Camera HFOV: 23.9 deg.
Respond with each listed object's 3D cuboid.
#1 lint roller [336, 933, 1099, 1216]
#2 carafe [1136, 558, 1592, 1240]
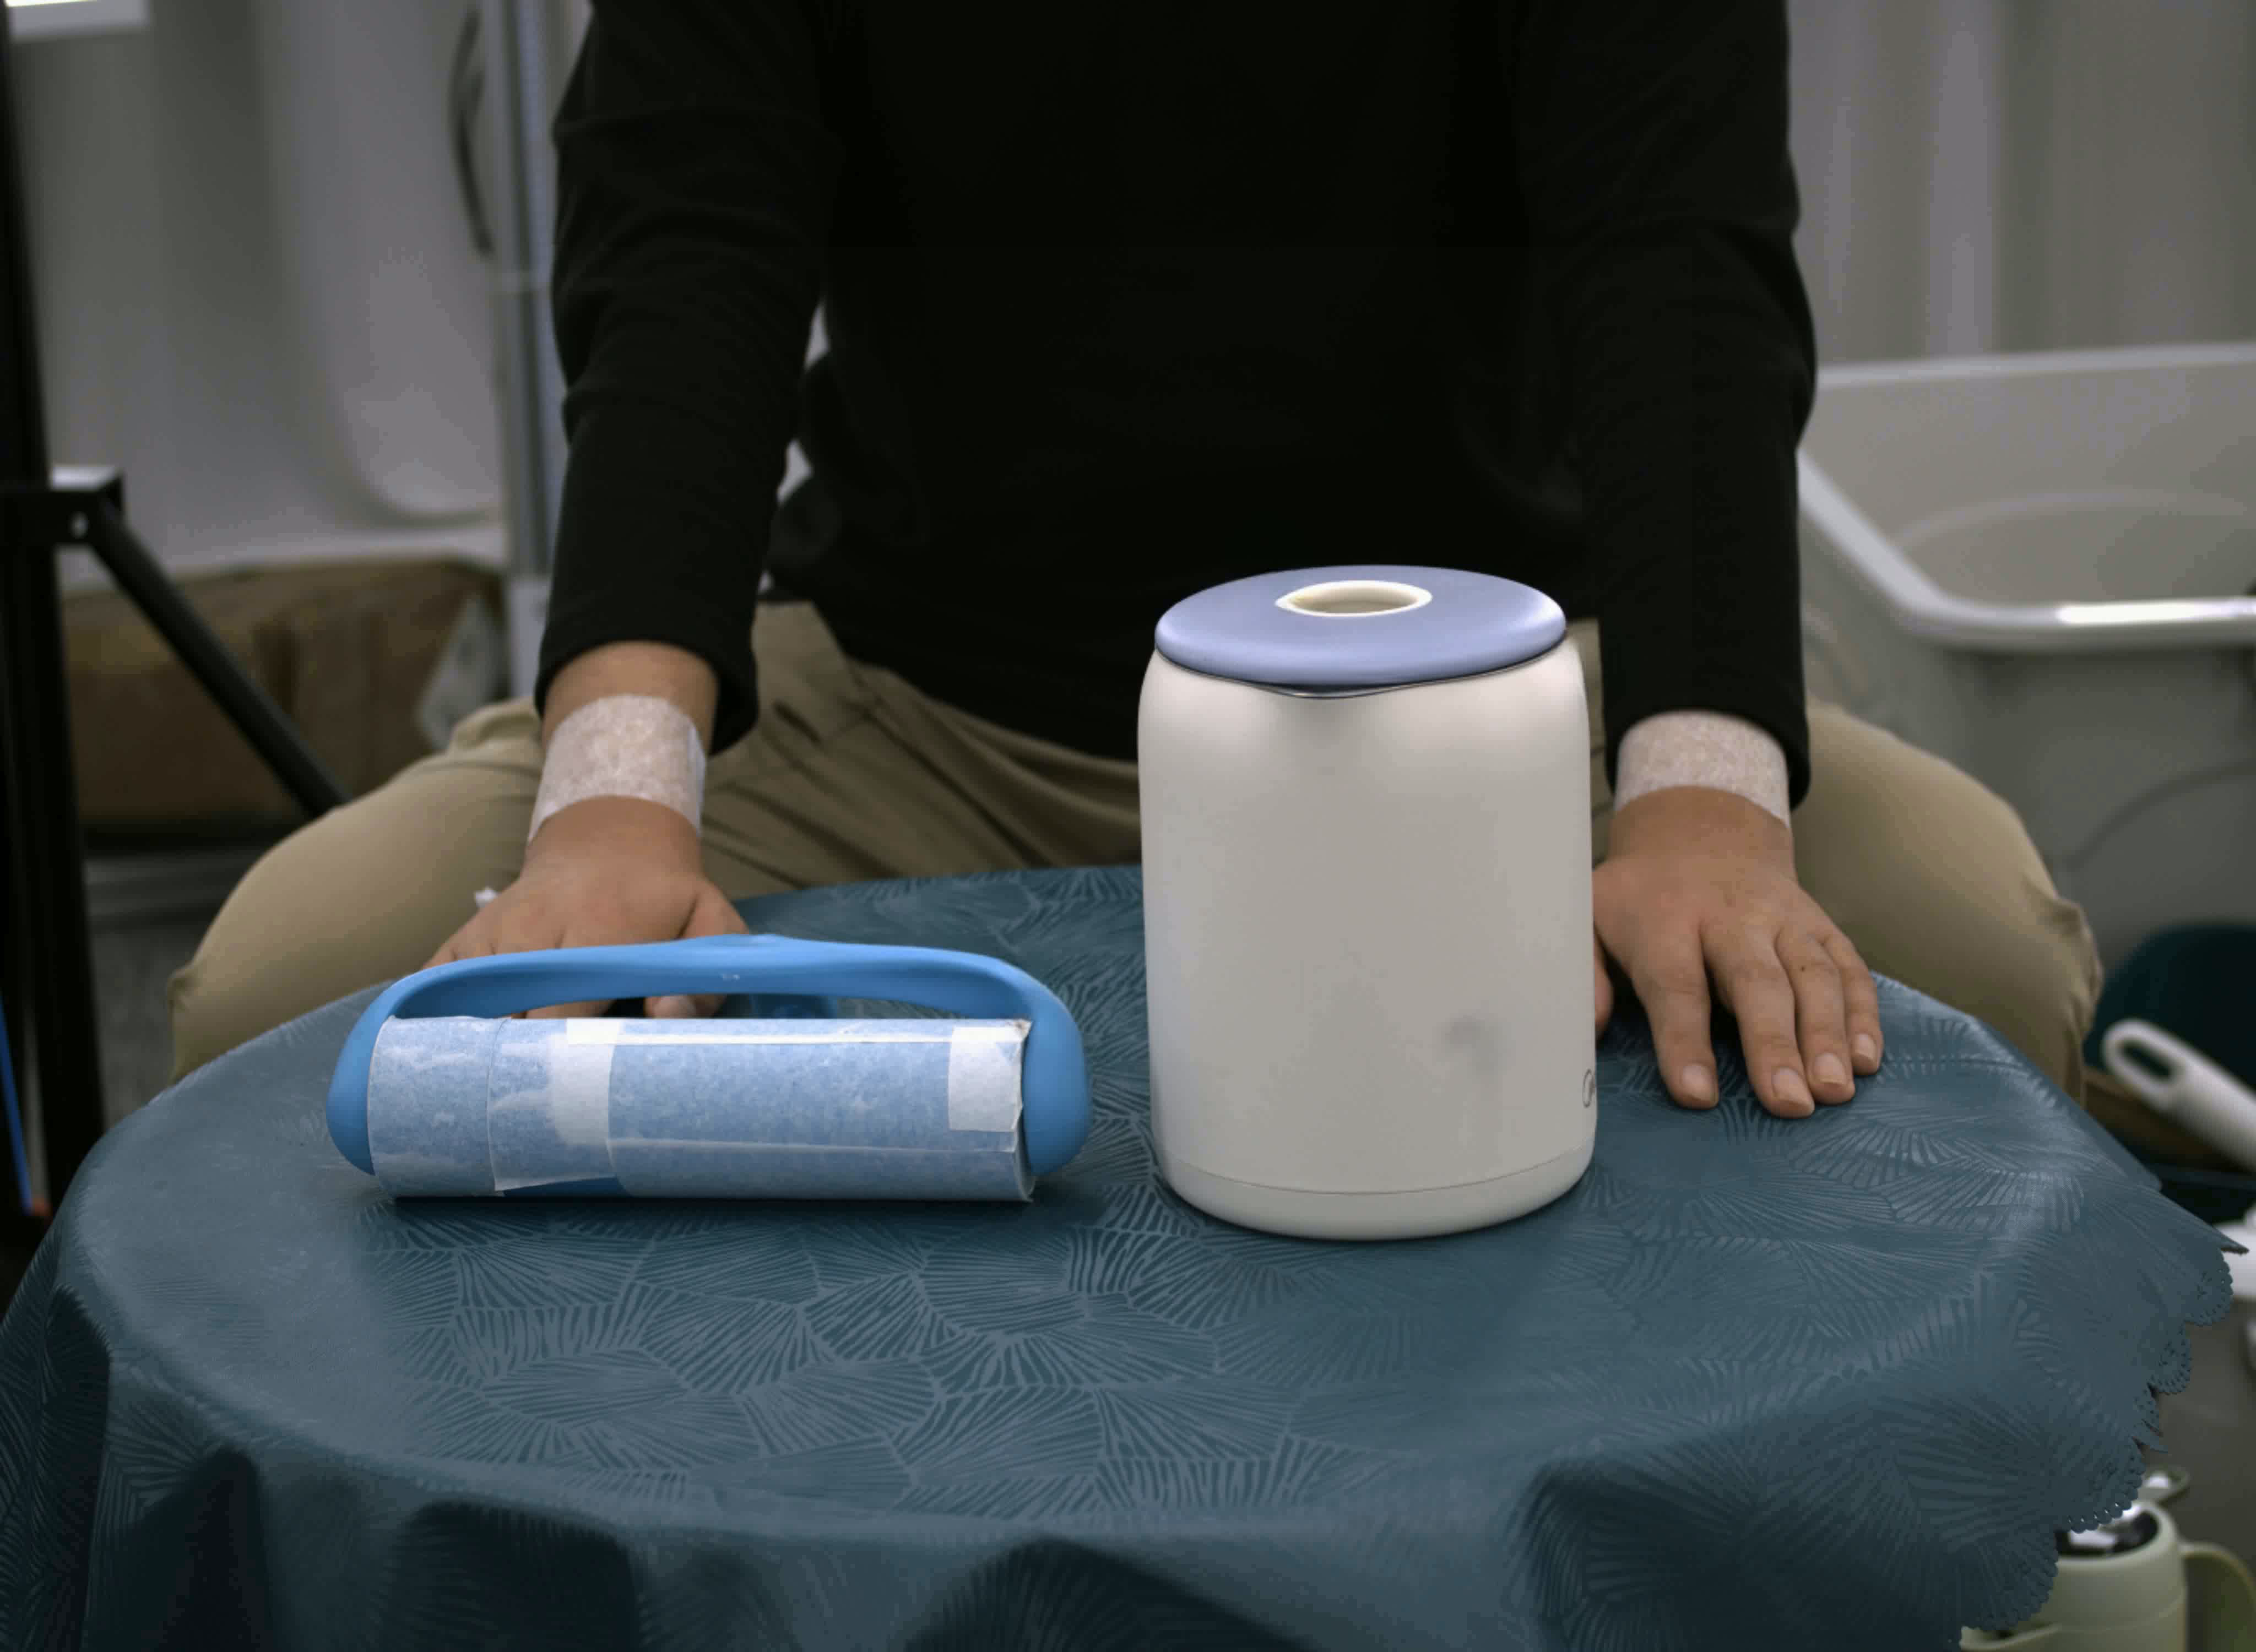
[{"bbox_3d":[-0.117,0.064,1.623,0.229,0.068,0.180,-4,21,8],"label":"lint roller"},{"bbox_3d":[0.073,0.014,1.562,0.133,0.182,0.190,1,14,10],"label":"carafe"}]
